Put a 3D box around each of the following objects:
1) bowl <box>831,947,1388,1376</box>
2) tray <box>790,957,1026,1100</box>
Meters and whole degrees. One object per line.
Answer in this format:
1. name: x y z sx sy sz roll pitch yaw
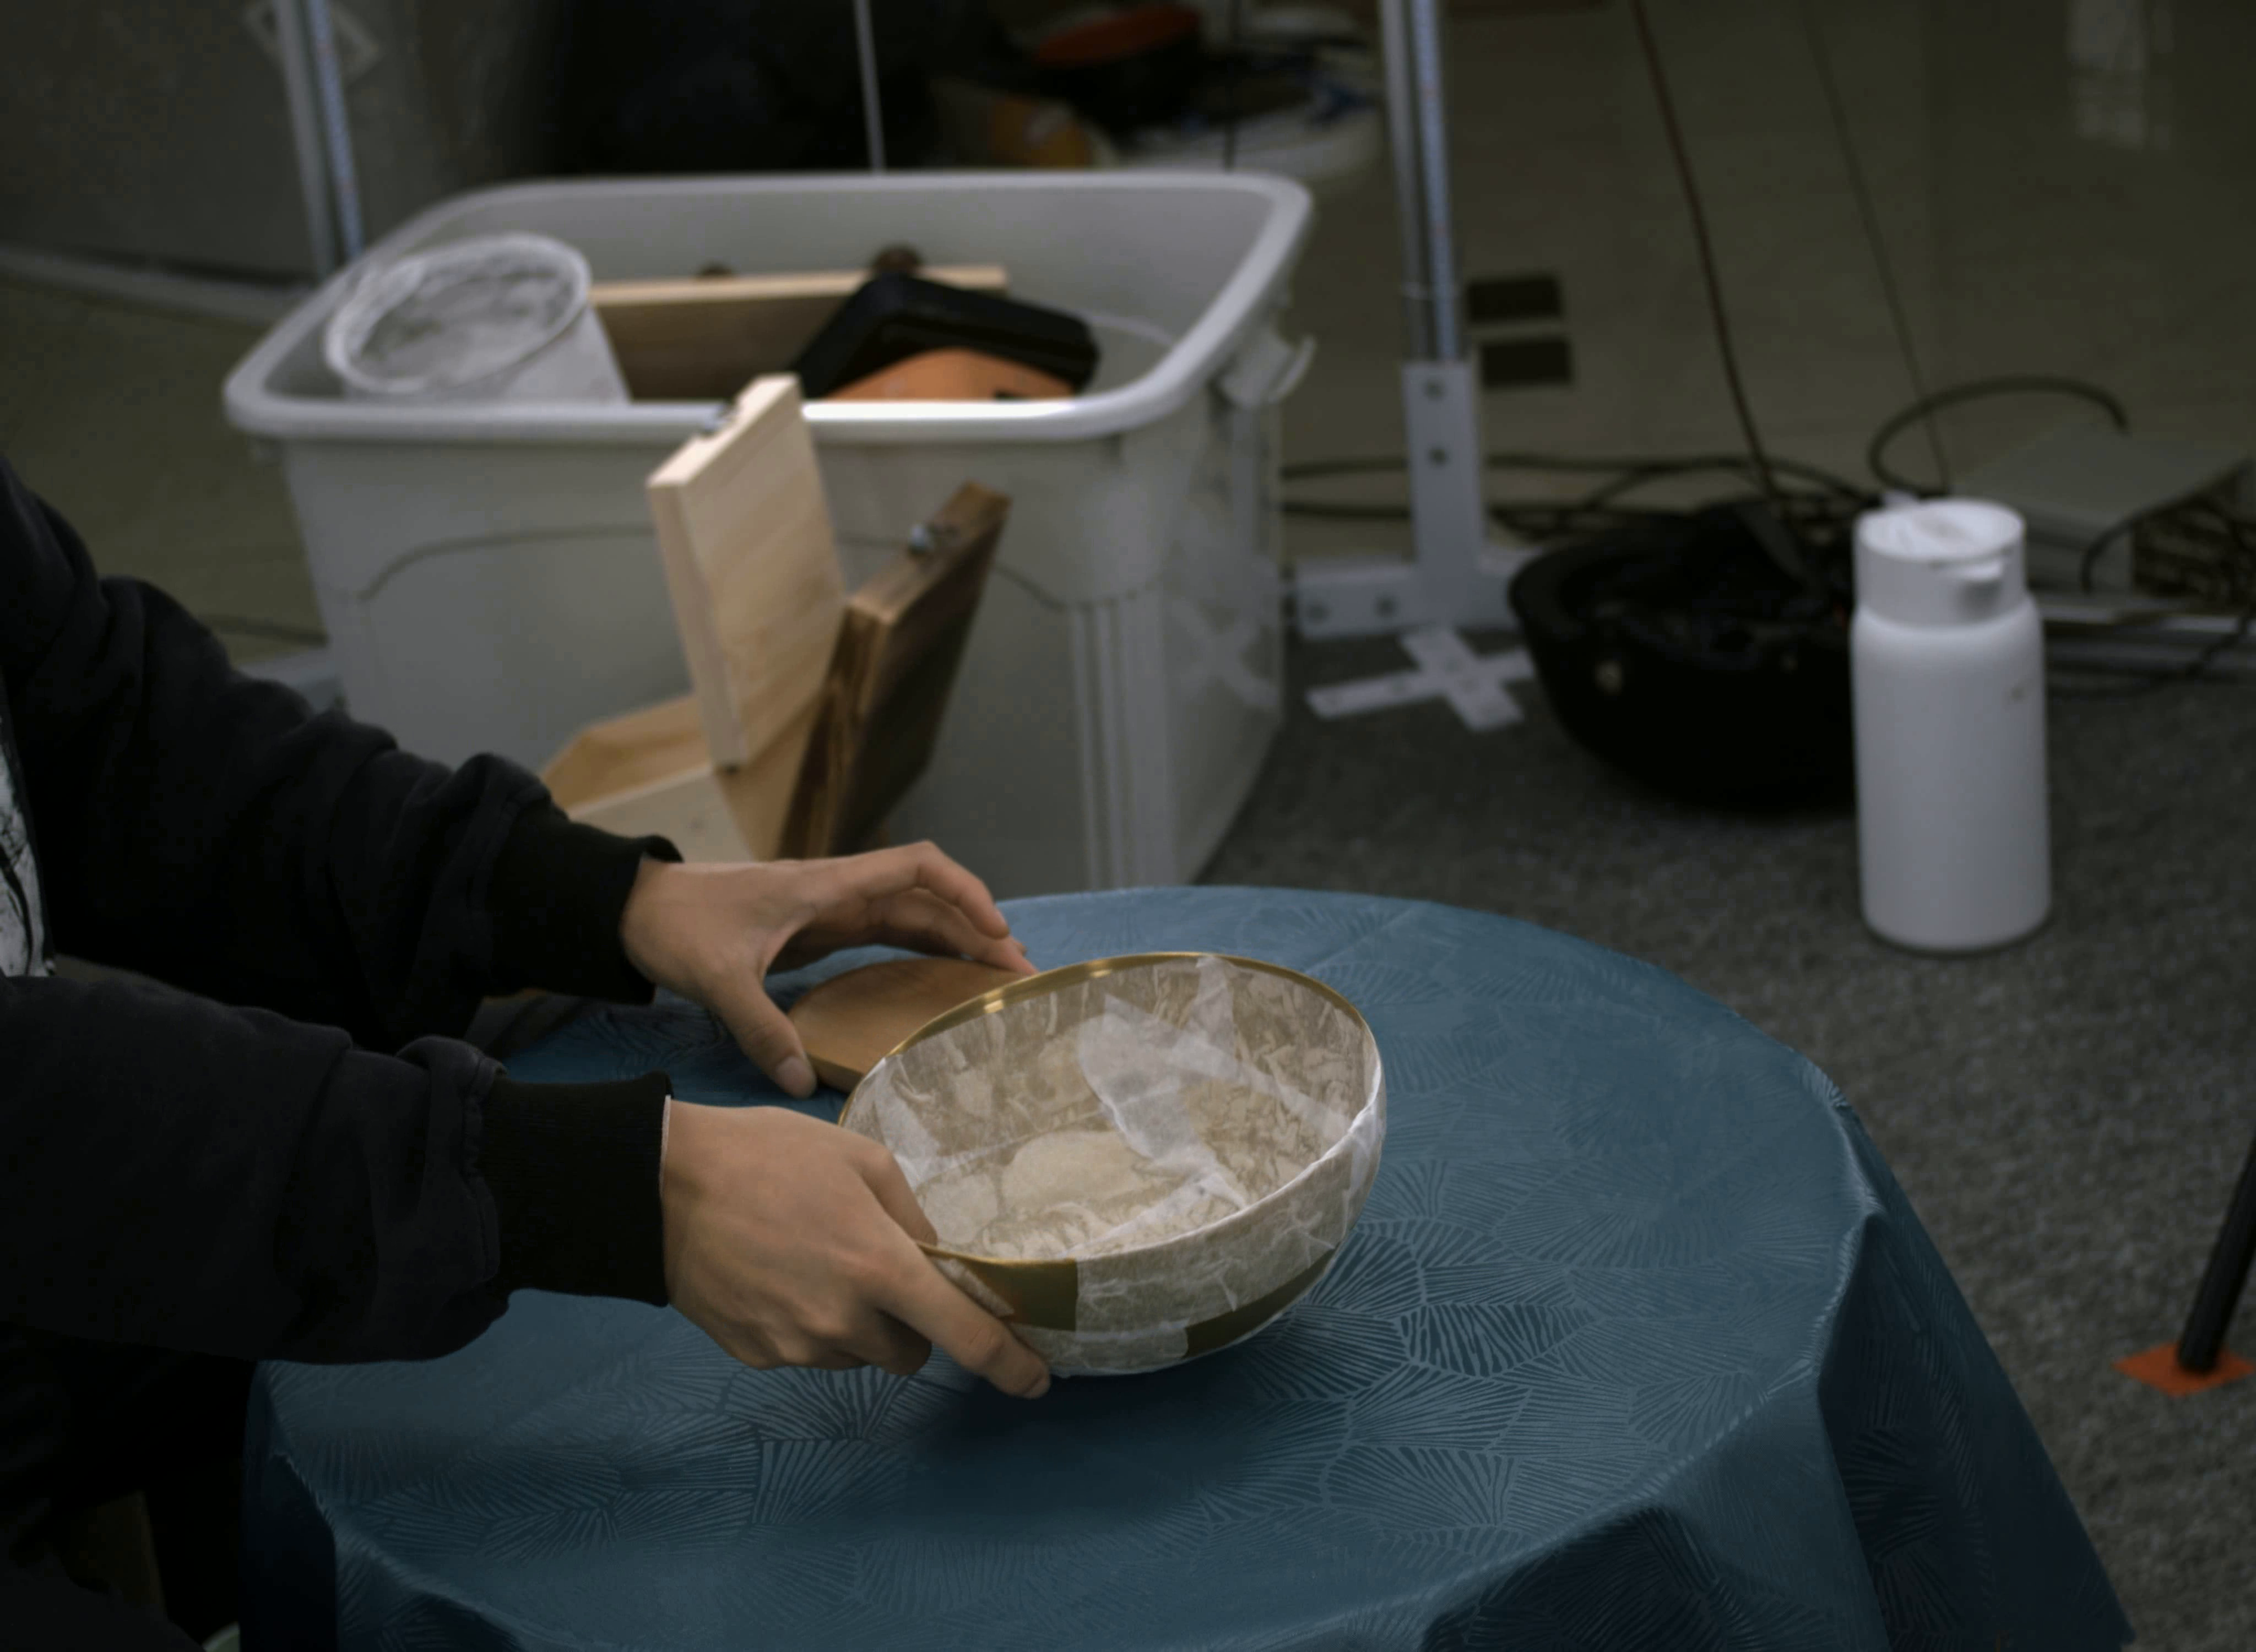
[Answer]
1. bowl: -0.002 0.133 2.047 0.214 0.096 0.211 -9 30 5
2. tray: -0.038 0.097 2.236 0.229 0.020 0.101 19 37 39
